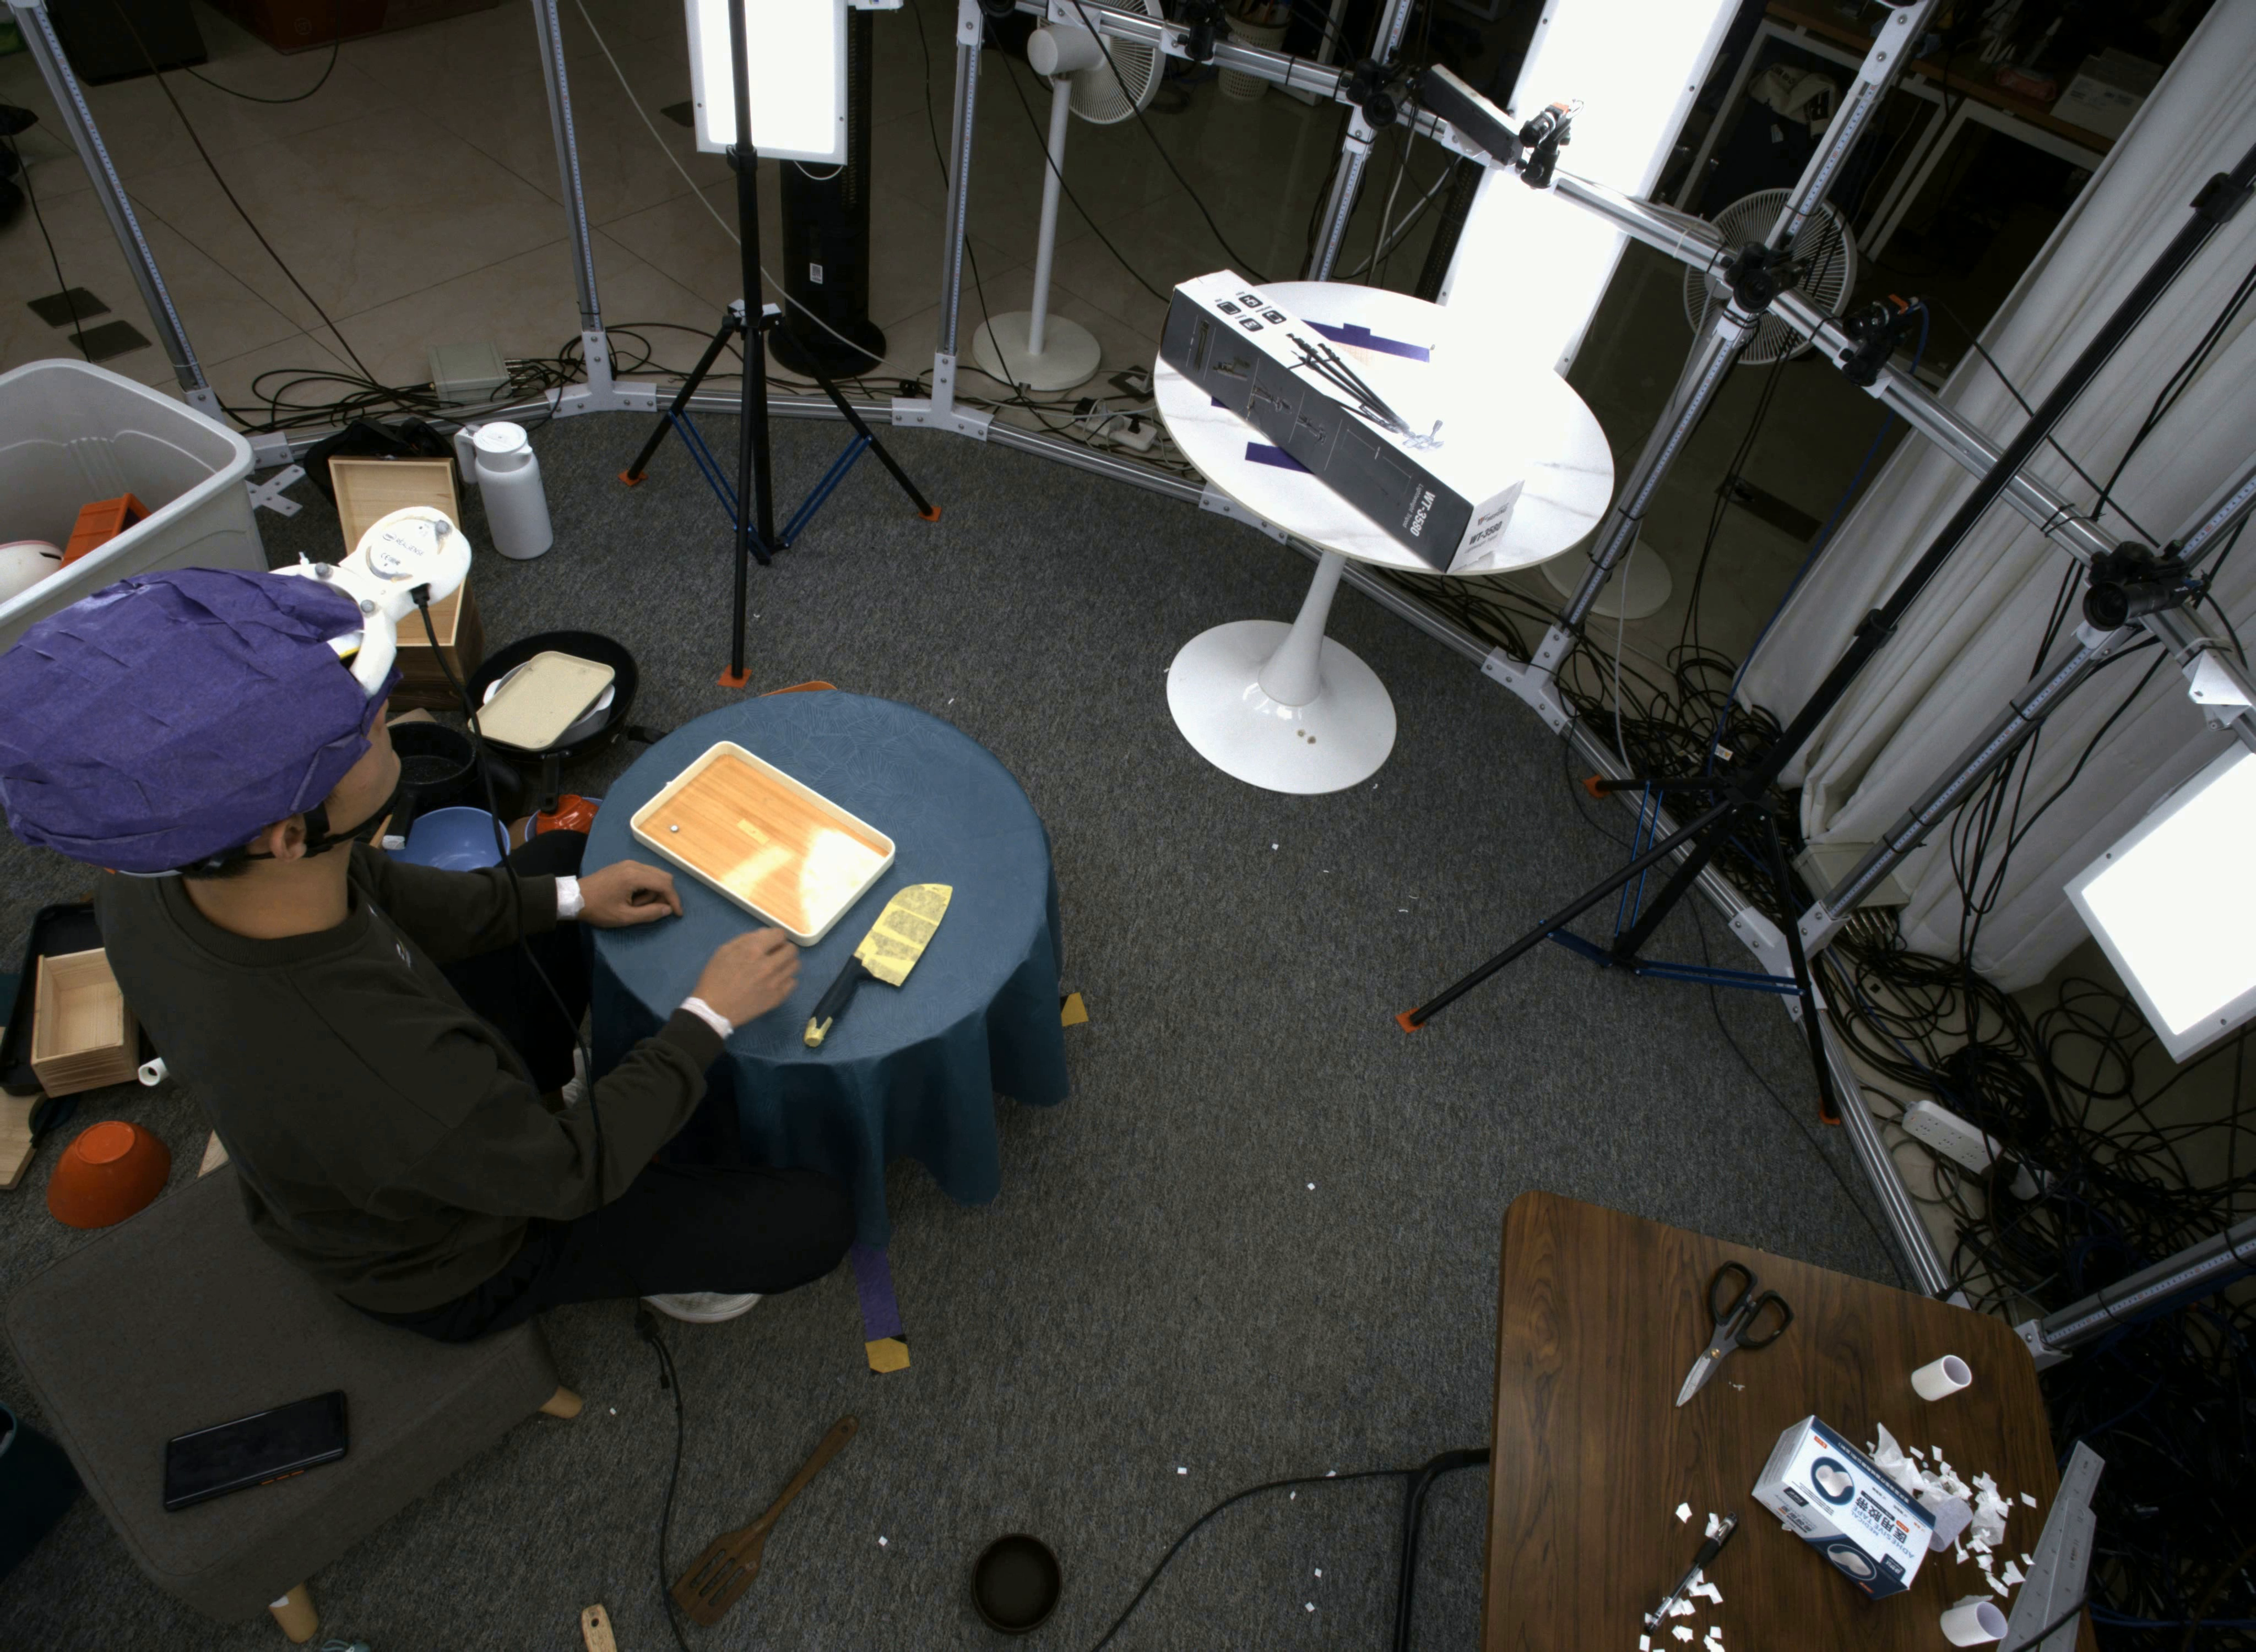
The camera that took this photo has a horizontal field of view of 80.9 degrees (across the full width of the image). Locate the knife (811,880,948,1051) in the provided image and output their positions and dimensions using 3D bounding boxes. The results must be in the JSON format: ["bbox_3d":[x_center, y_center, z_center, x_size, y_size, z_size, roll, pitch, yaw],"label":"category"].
[{"bbox_3d":[-0.307,0.167,1.631,0.080,0.028,0.287,25,51,7],"label":"knife"}]

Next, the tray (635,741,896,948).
[{"bbox_3d":[-0.474,0.018,1.692,0.295,0.028,0.191,30,54,9],"label":"tray"}]
